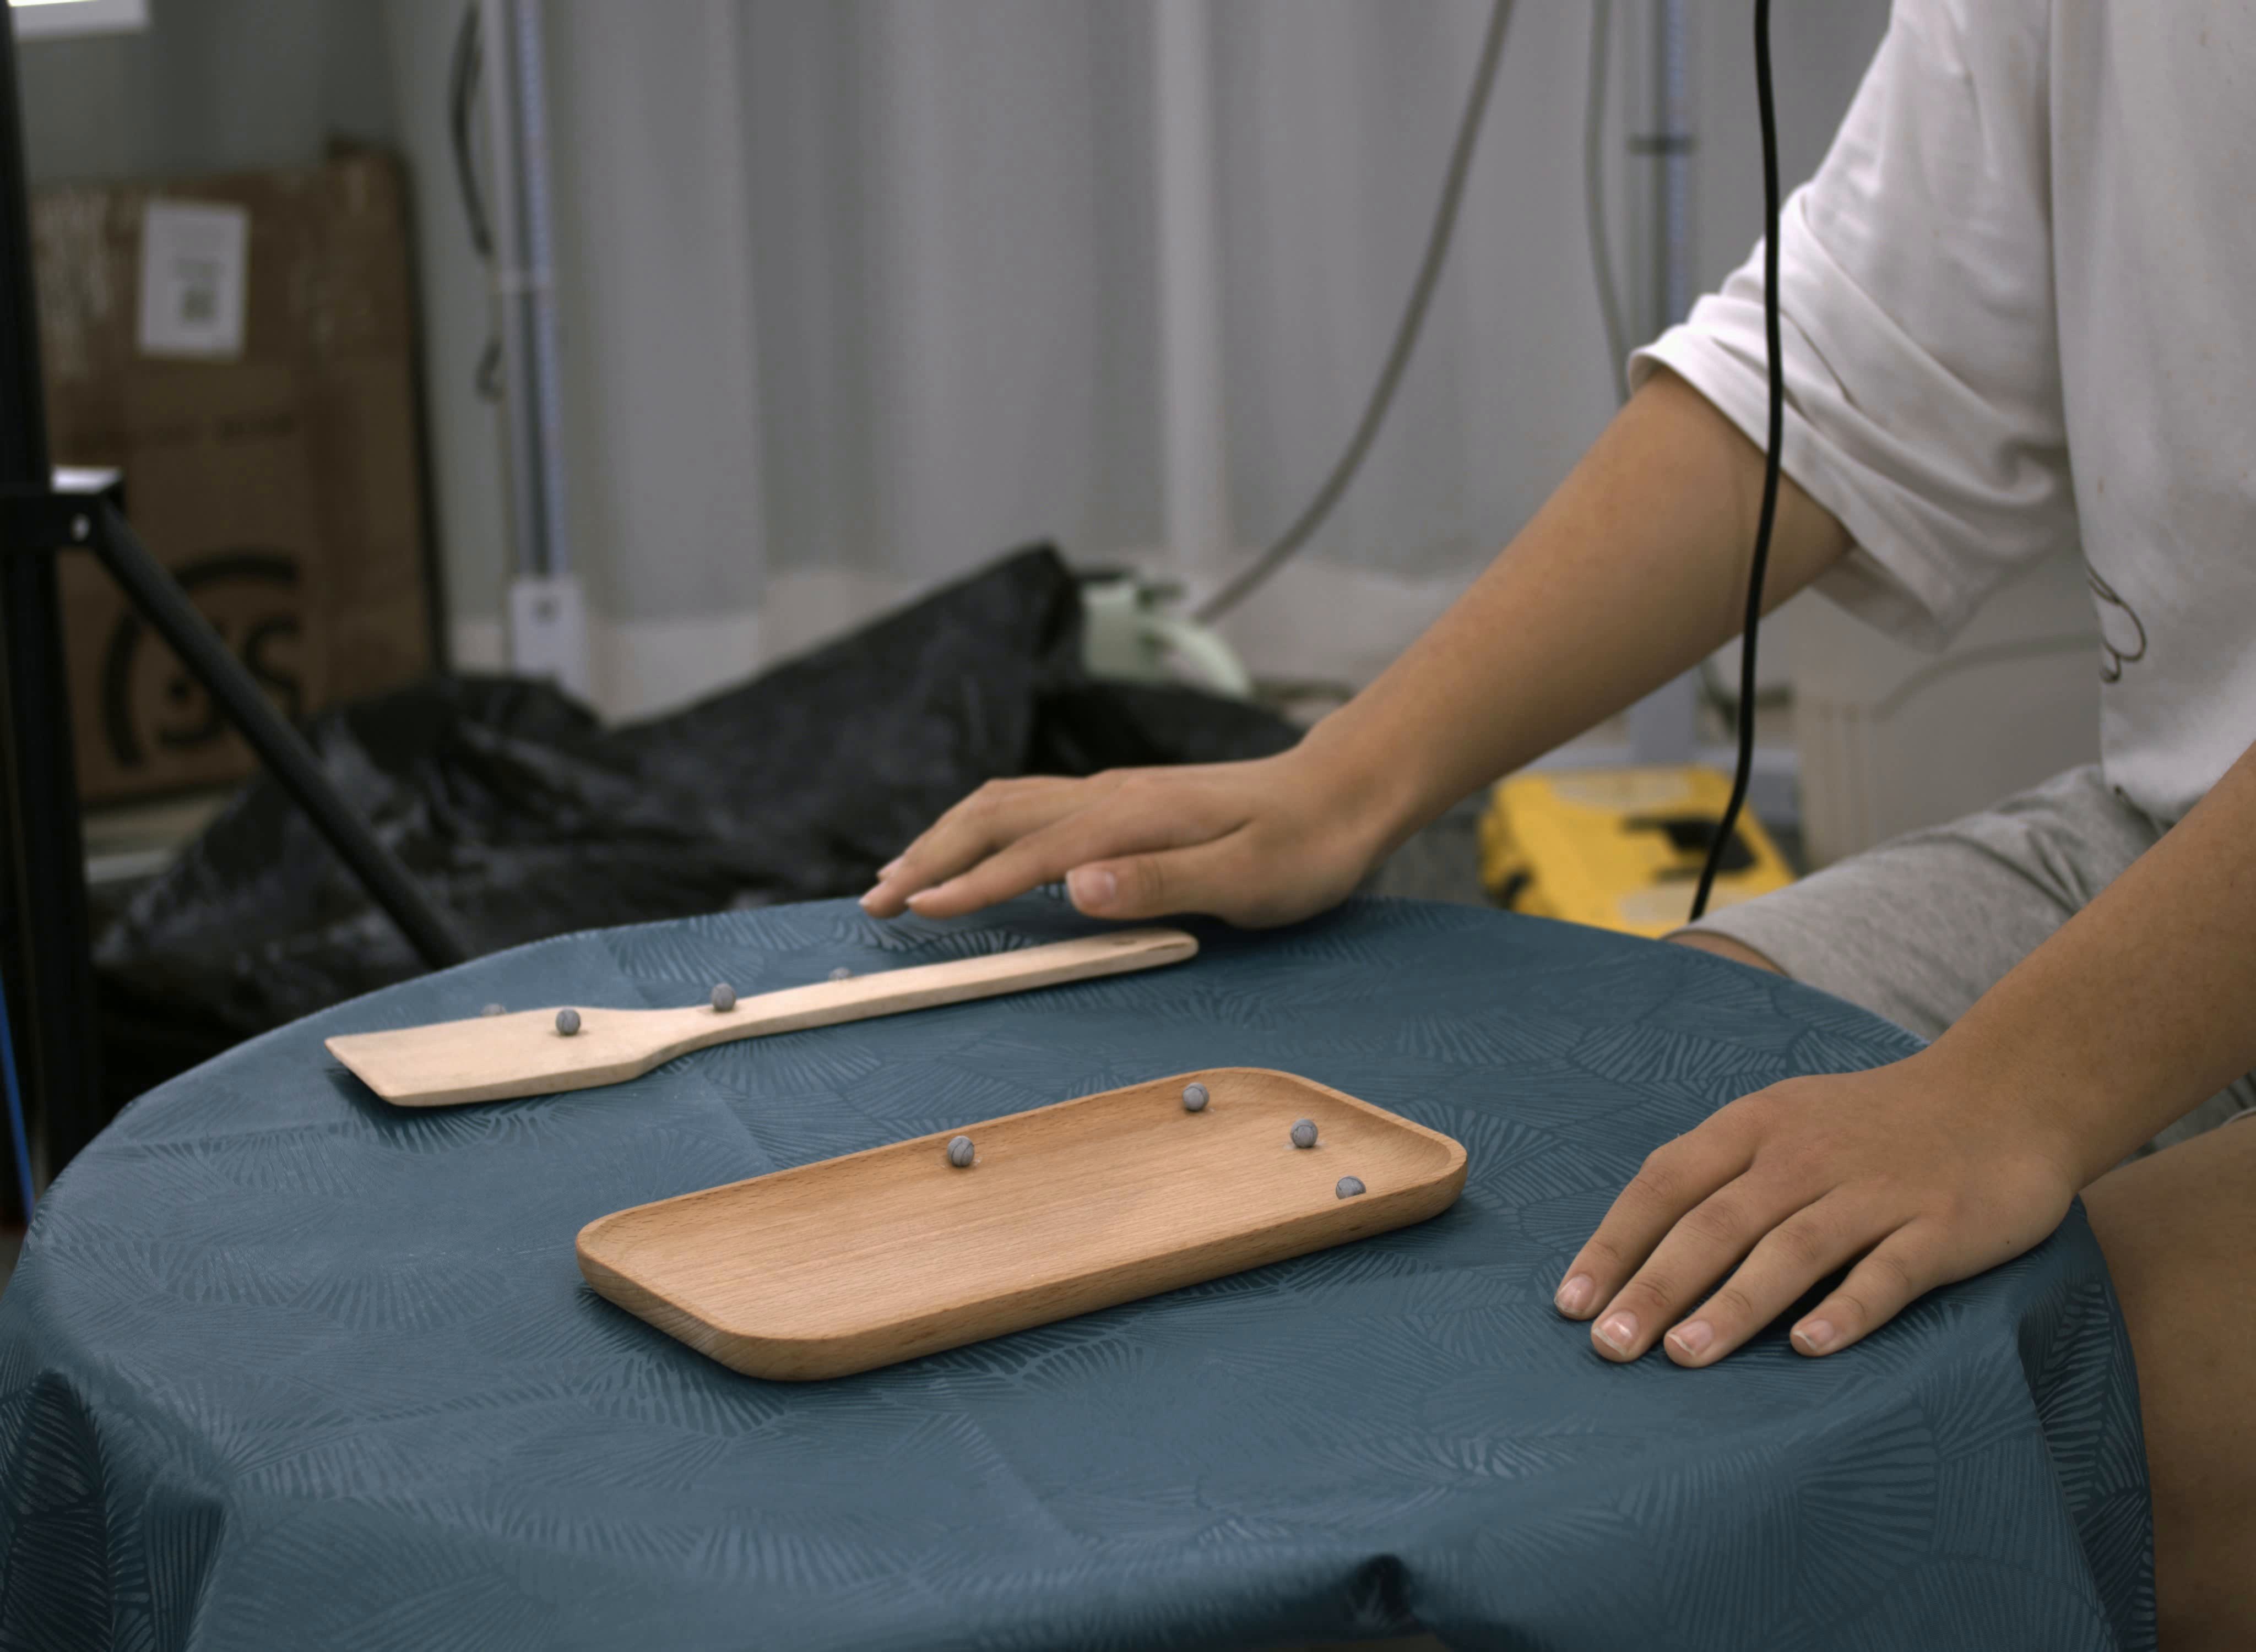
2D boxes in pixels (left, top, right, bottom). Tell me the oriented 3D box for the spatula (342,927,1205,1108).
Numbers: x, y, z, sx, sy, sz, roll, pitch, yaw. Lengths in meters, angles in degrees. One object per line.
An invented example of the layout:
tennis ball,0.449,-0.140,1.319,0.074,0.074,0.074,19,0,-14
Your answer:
spatula,-0.108,0.059,1.731,0.287,0.010,0.073,-9,16,-22

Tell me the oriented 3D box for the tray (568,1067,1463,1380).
tray,-0.030,0.112,1.520,0.245,0.023,0.133,-12,16,-30
